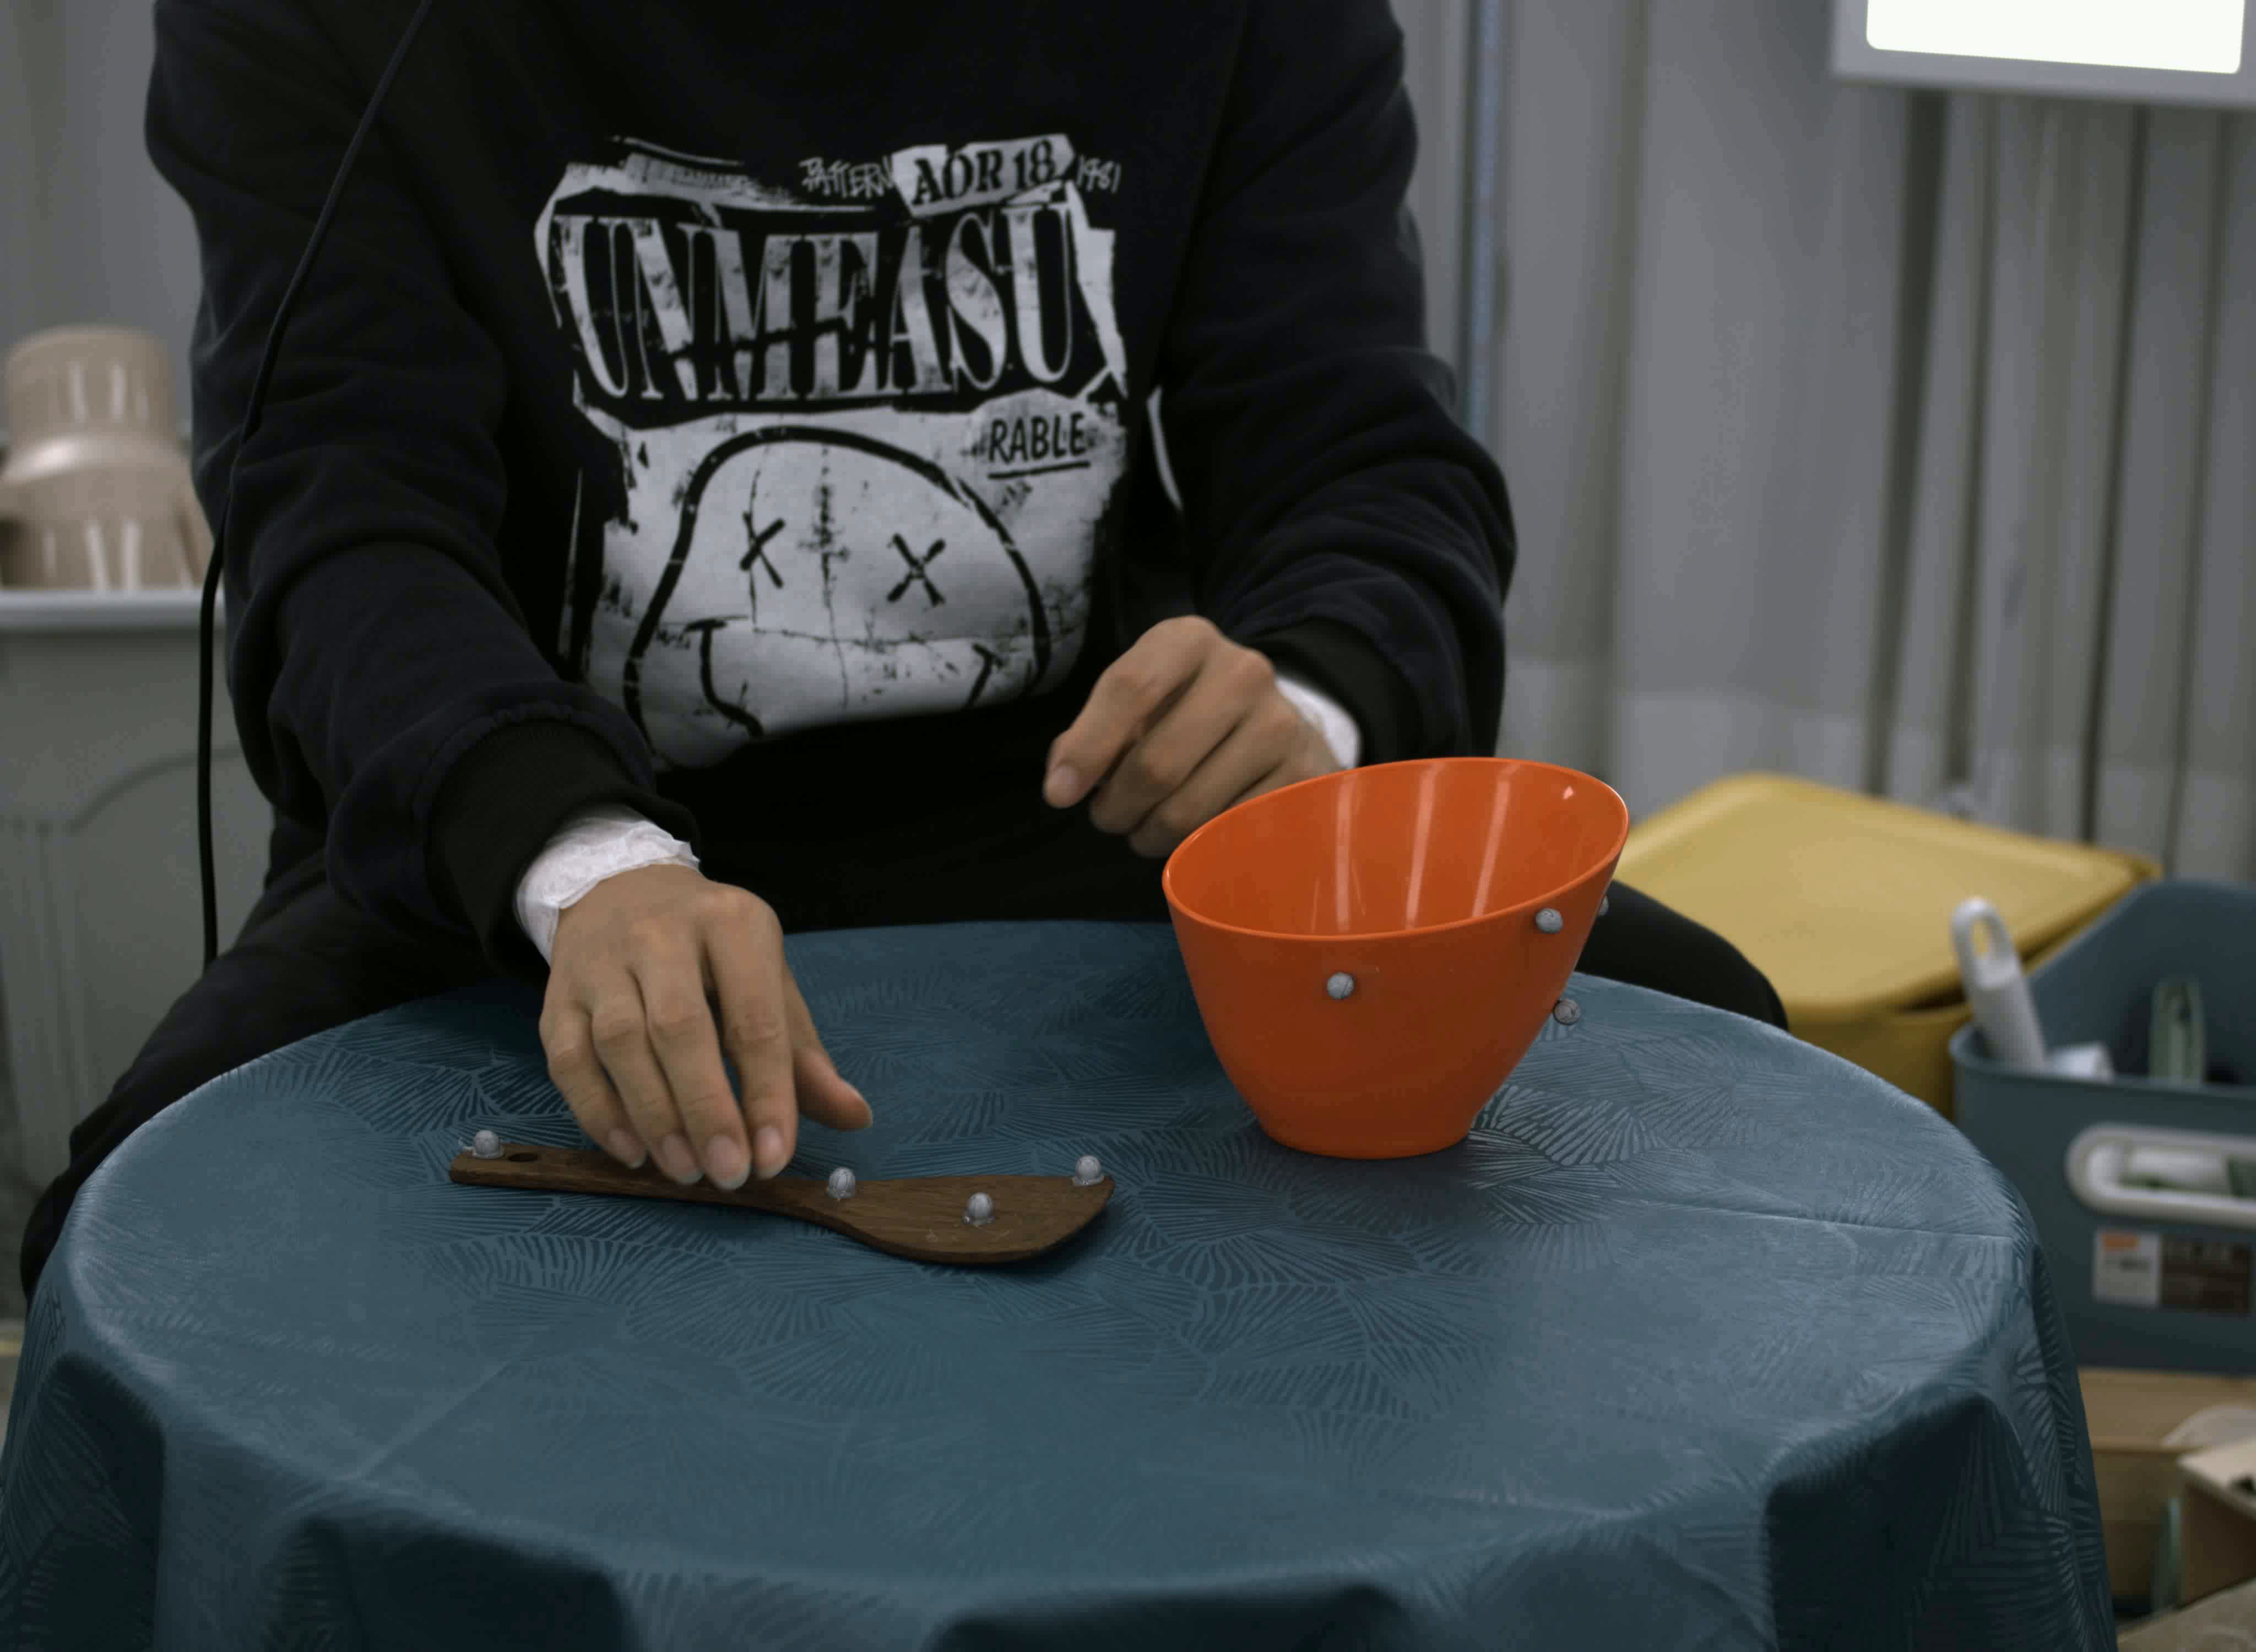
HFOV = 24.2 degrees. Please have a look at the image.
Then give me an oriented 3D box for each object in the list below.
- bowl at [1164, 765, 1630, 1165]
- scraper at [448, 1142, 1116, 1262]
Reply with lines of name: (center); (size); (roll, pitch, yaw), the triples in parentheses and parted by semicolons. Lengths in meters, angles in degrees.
bowl: (0.085, 0.047, 1.677); (0.147, 0.105, 0.147); (1, 16, 0)
scraper: (-0.109, 0.112, 1.610); (0.209, 0.011, 0.076); (5, 15, 17)
